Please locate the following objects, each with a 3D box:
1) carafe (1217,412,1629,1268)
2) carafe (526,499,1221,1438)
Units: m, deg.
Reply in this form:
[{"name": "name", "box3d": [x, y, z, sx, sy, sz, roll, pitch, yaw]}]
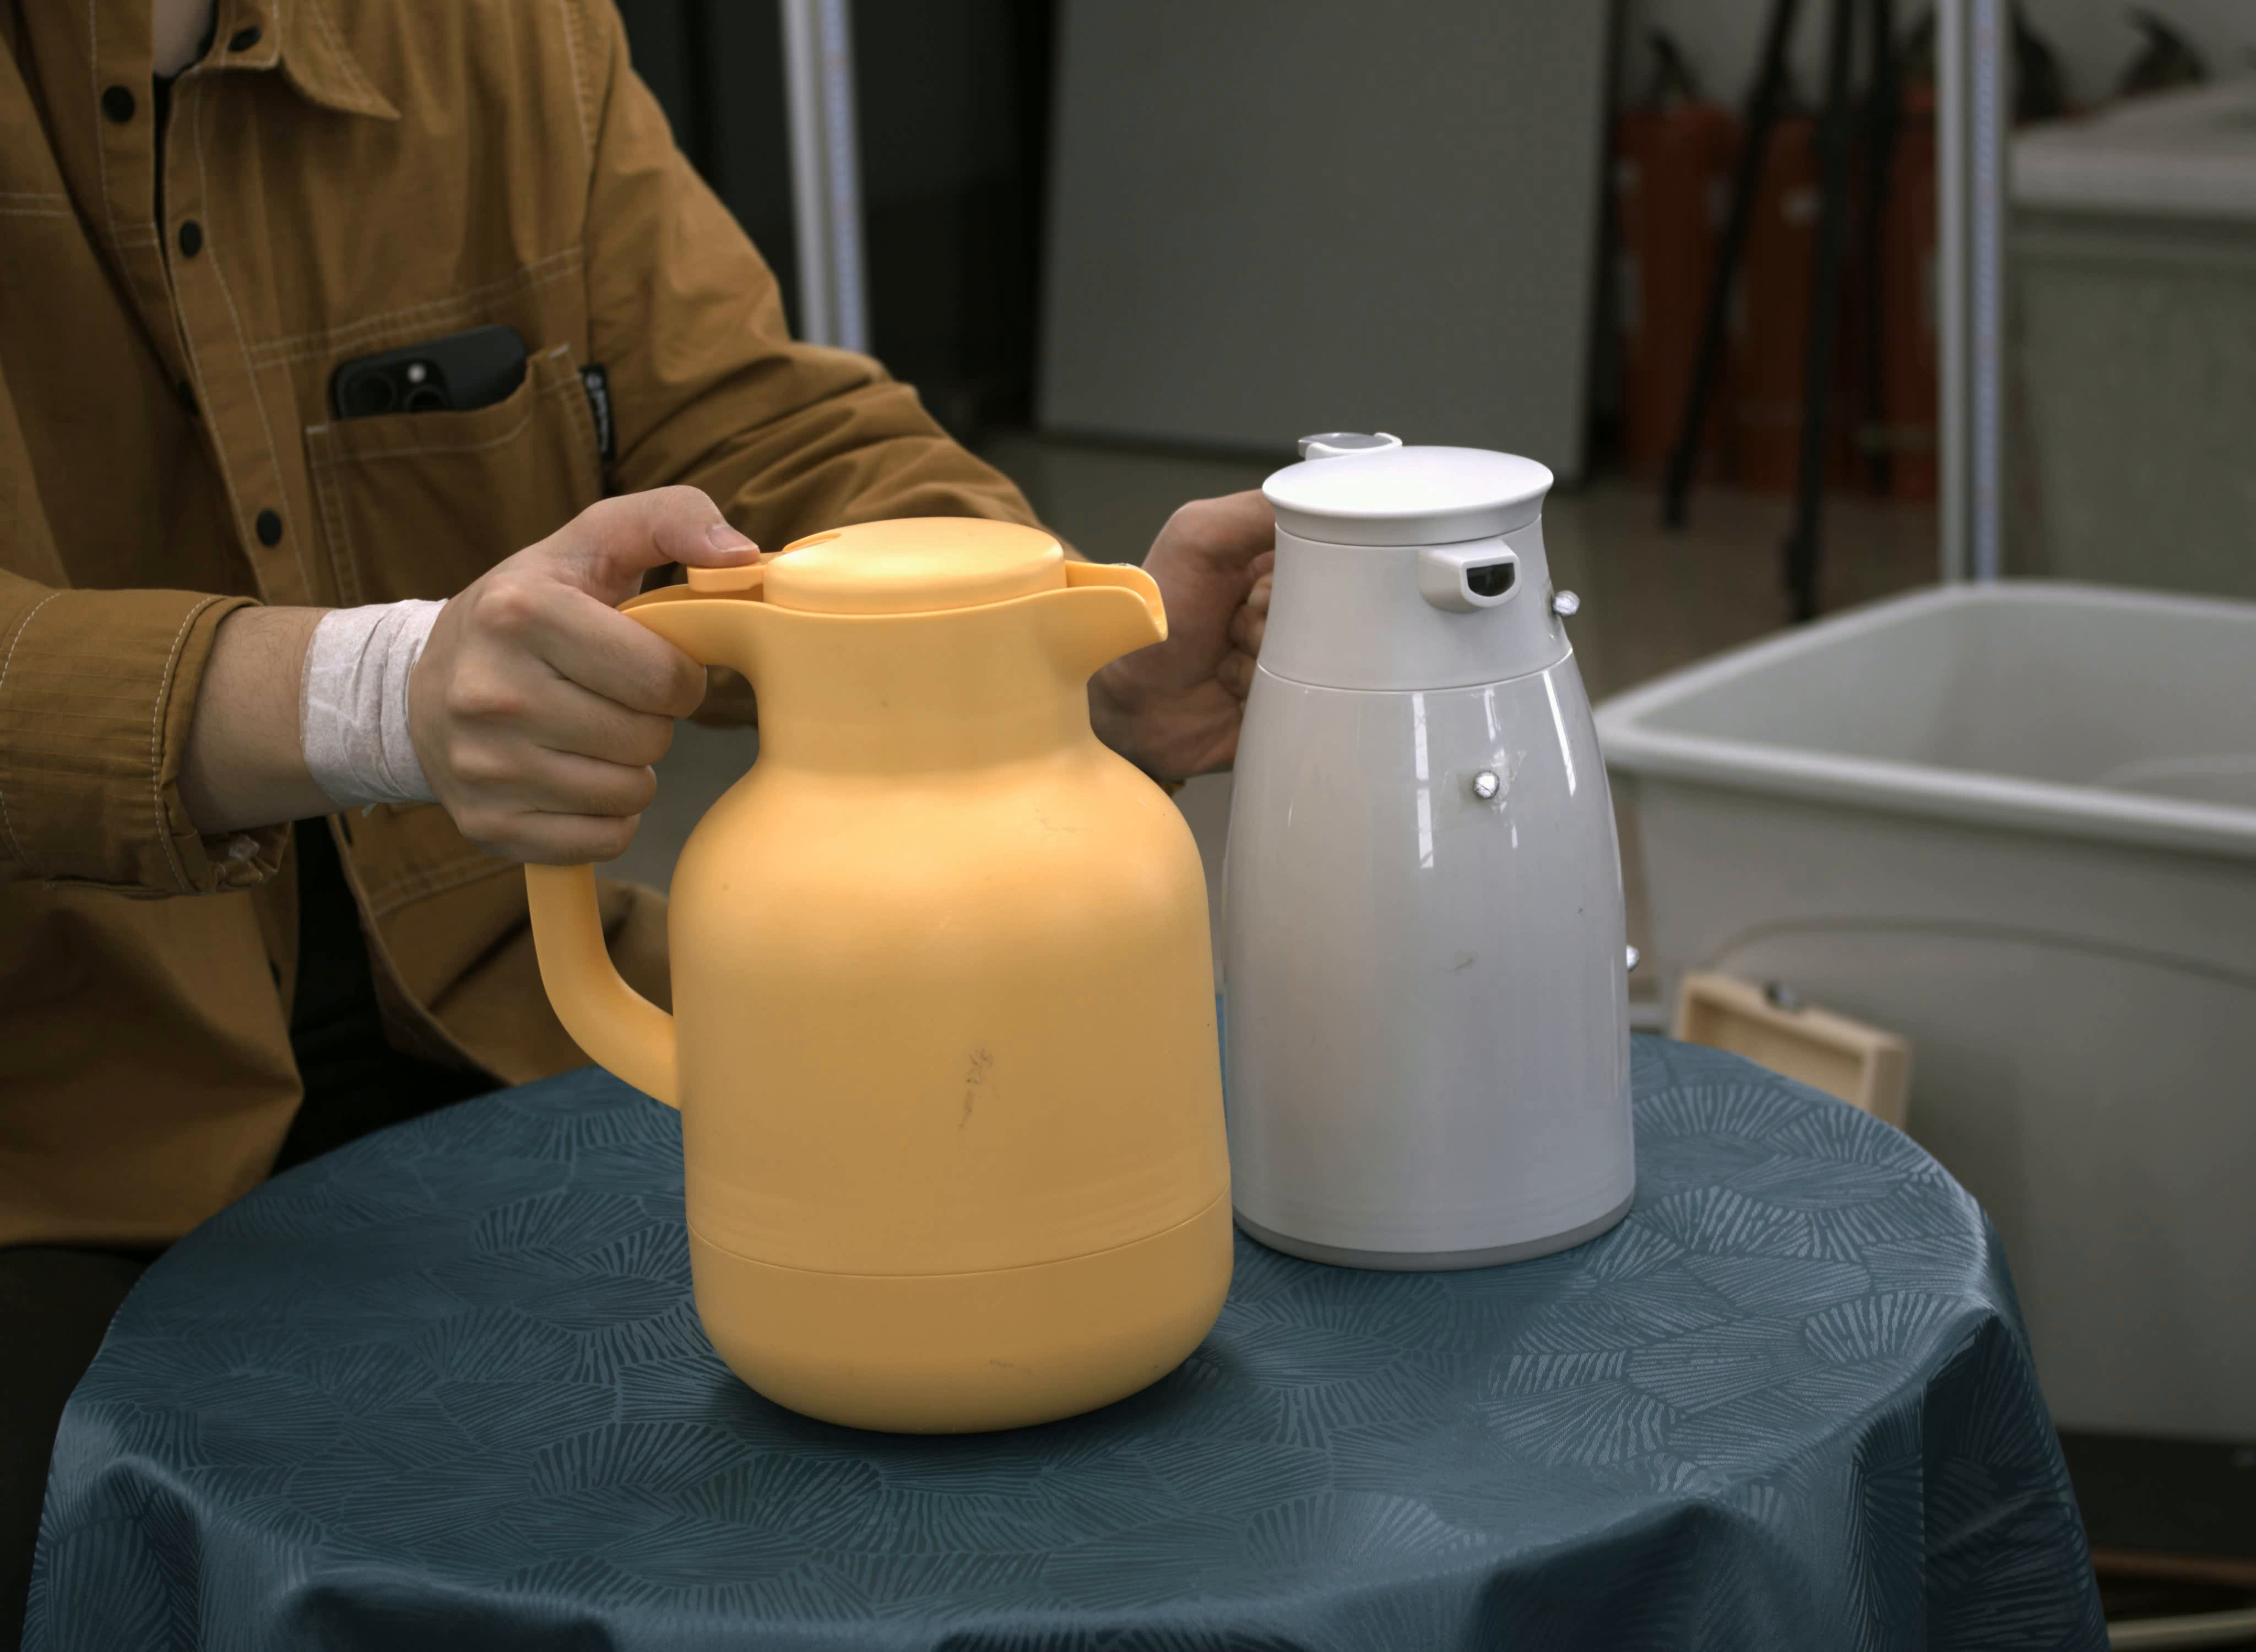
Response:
[{"name": "carafe", "box3d": [0.083, -0.004, 1.722, 0.130, 0.251, 0.169, -9, 15, -19]}, {"name": "carafe", "box3d": [-0.075, 0.037, 1.590, 0.201, 0.263, 0.162, 0, 11, 12]}]
